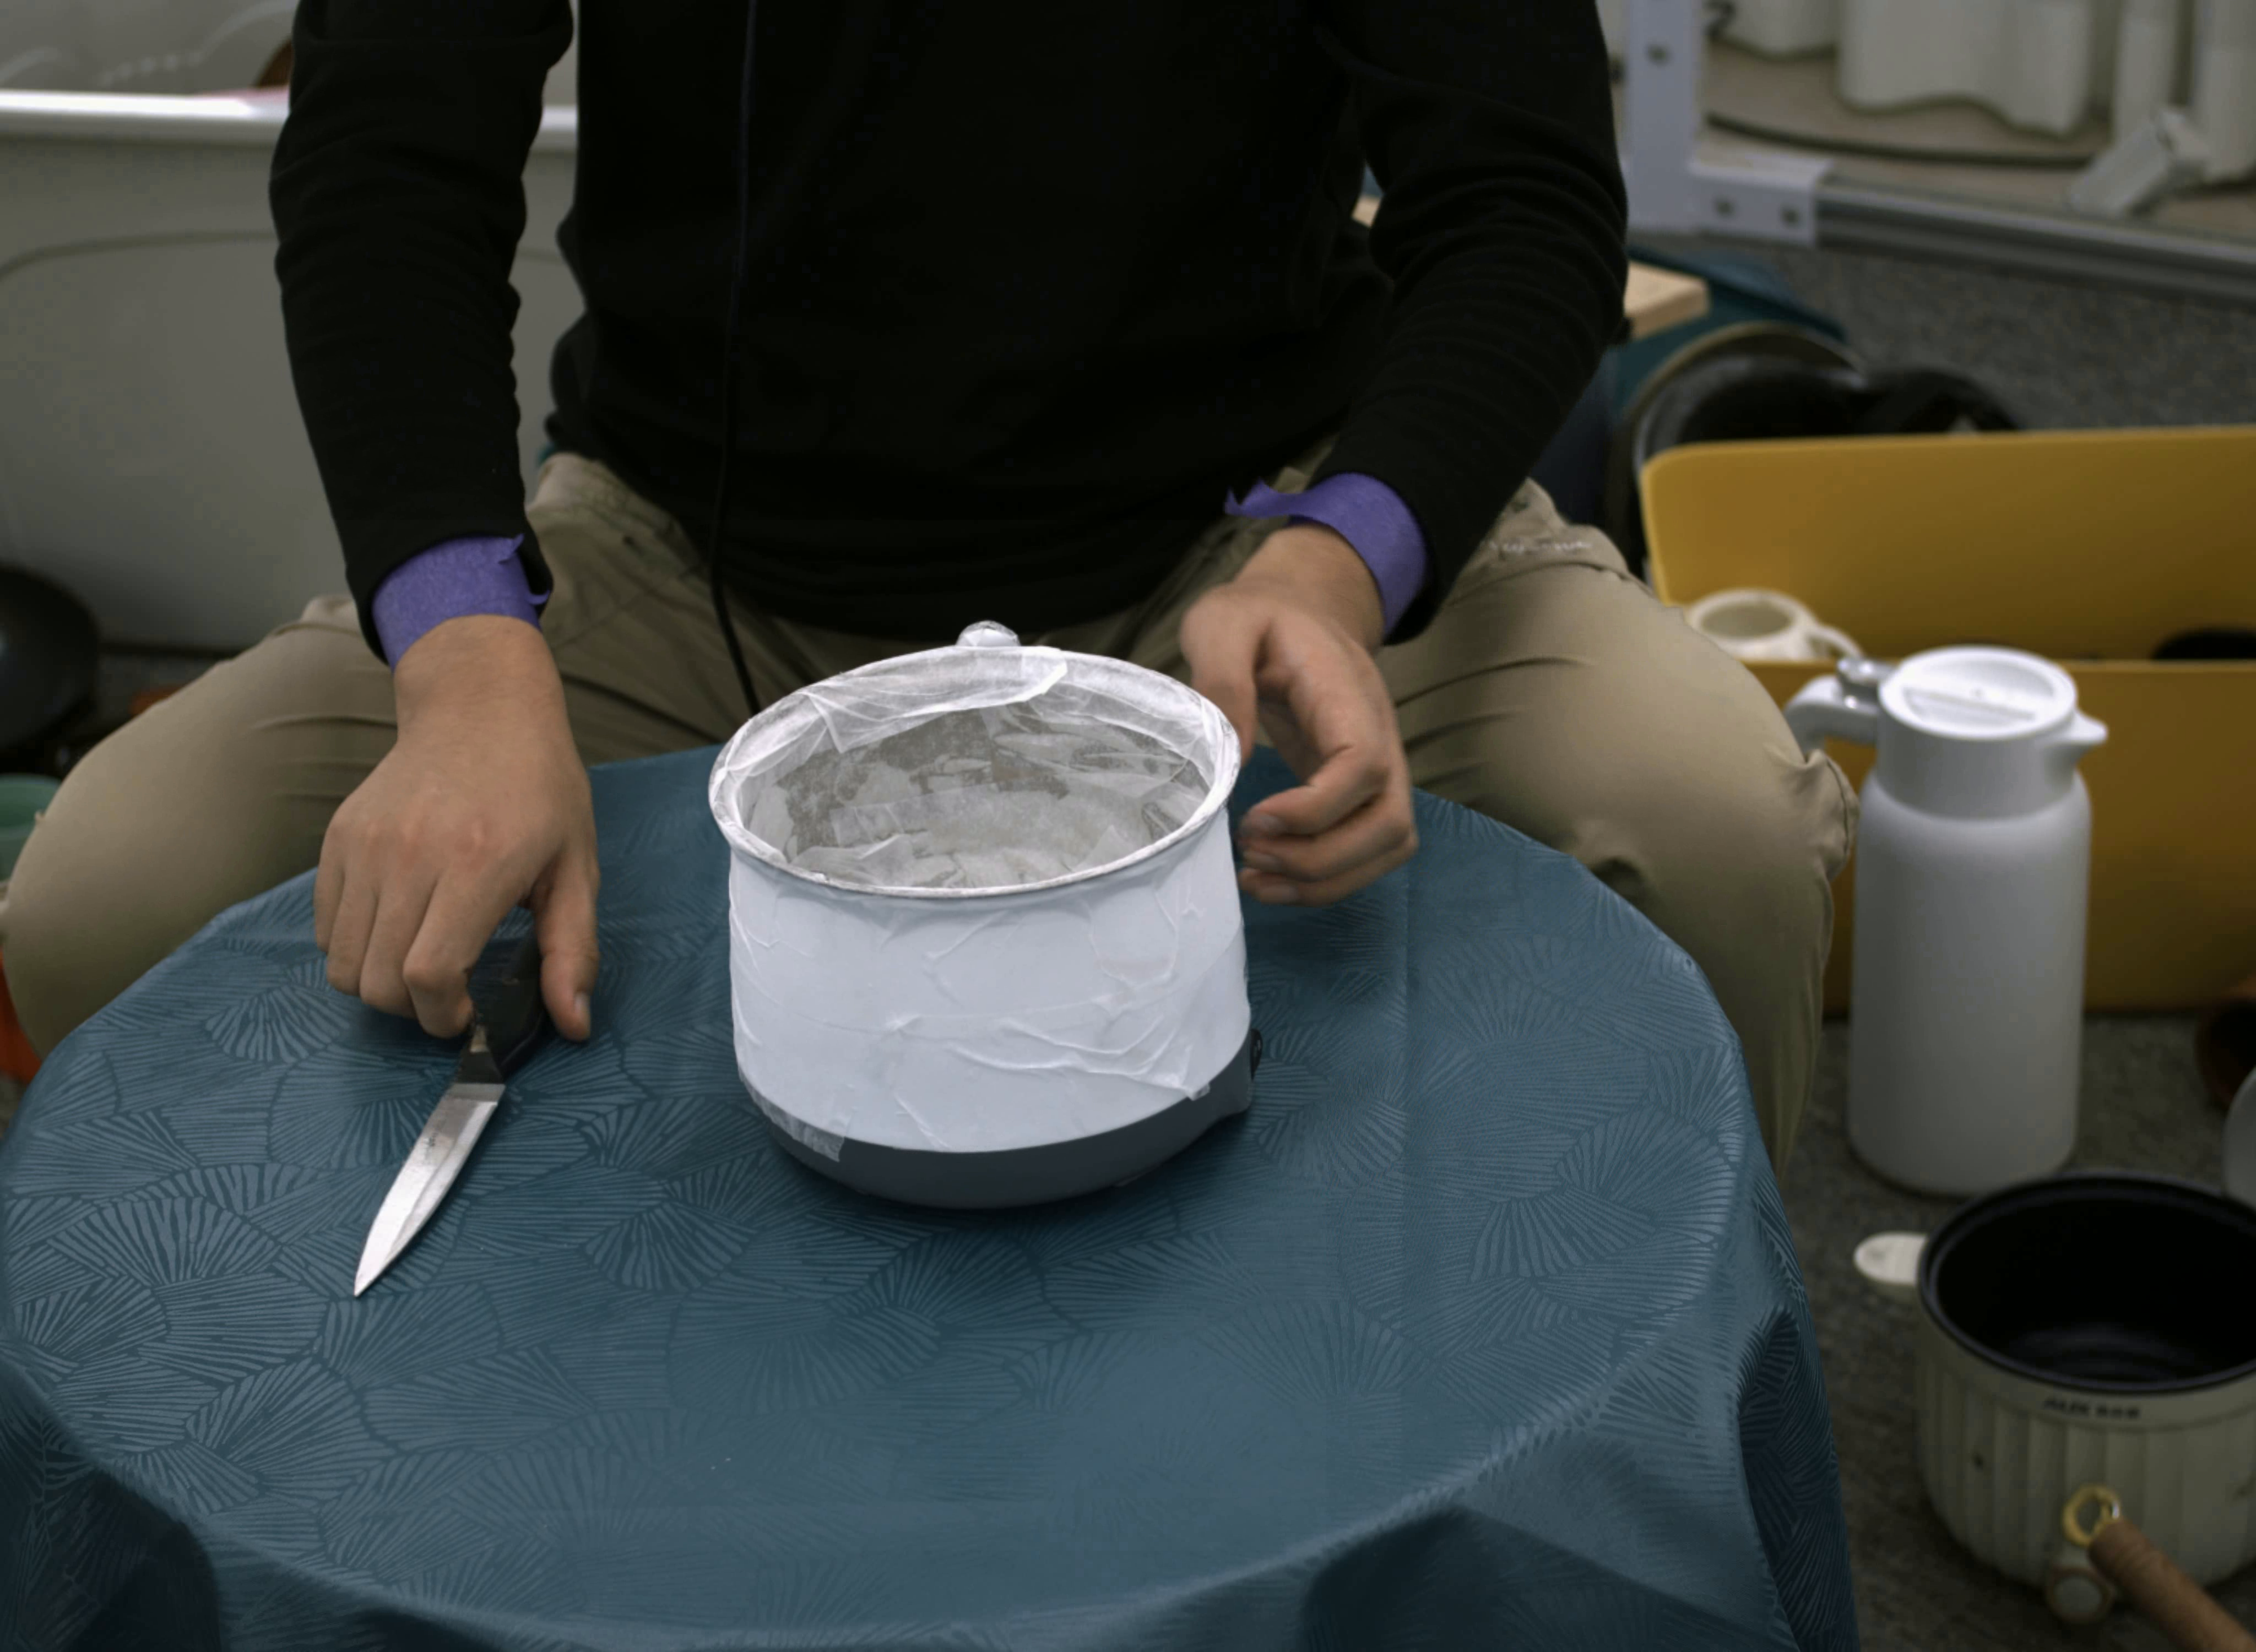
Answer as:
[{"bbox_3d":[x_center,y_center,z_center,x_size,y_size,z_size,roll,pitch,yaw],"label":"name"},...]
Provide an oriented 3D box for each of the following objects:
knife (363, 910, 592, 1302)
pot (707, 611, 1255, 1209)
[{"bbox_3d":[-0.225,0.095,1.921,0.024,0.016,0.242,1,30,12],"label":"knife"},{"bbox_3d":[-0.048,0.021,1.906,0.178,0.135,0.237,-2,28,0],"label":"pot"}]
